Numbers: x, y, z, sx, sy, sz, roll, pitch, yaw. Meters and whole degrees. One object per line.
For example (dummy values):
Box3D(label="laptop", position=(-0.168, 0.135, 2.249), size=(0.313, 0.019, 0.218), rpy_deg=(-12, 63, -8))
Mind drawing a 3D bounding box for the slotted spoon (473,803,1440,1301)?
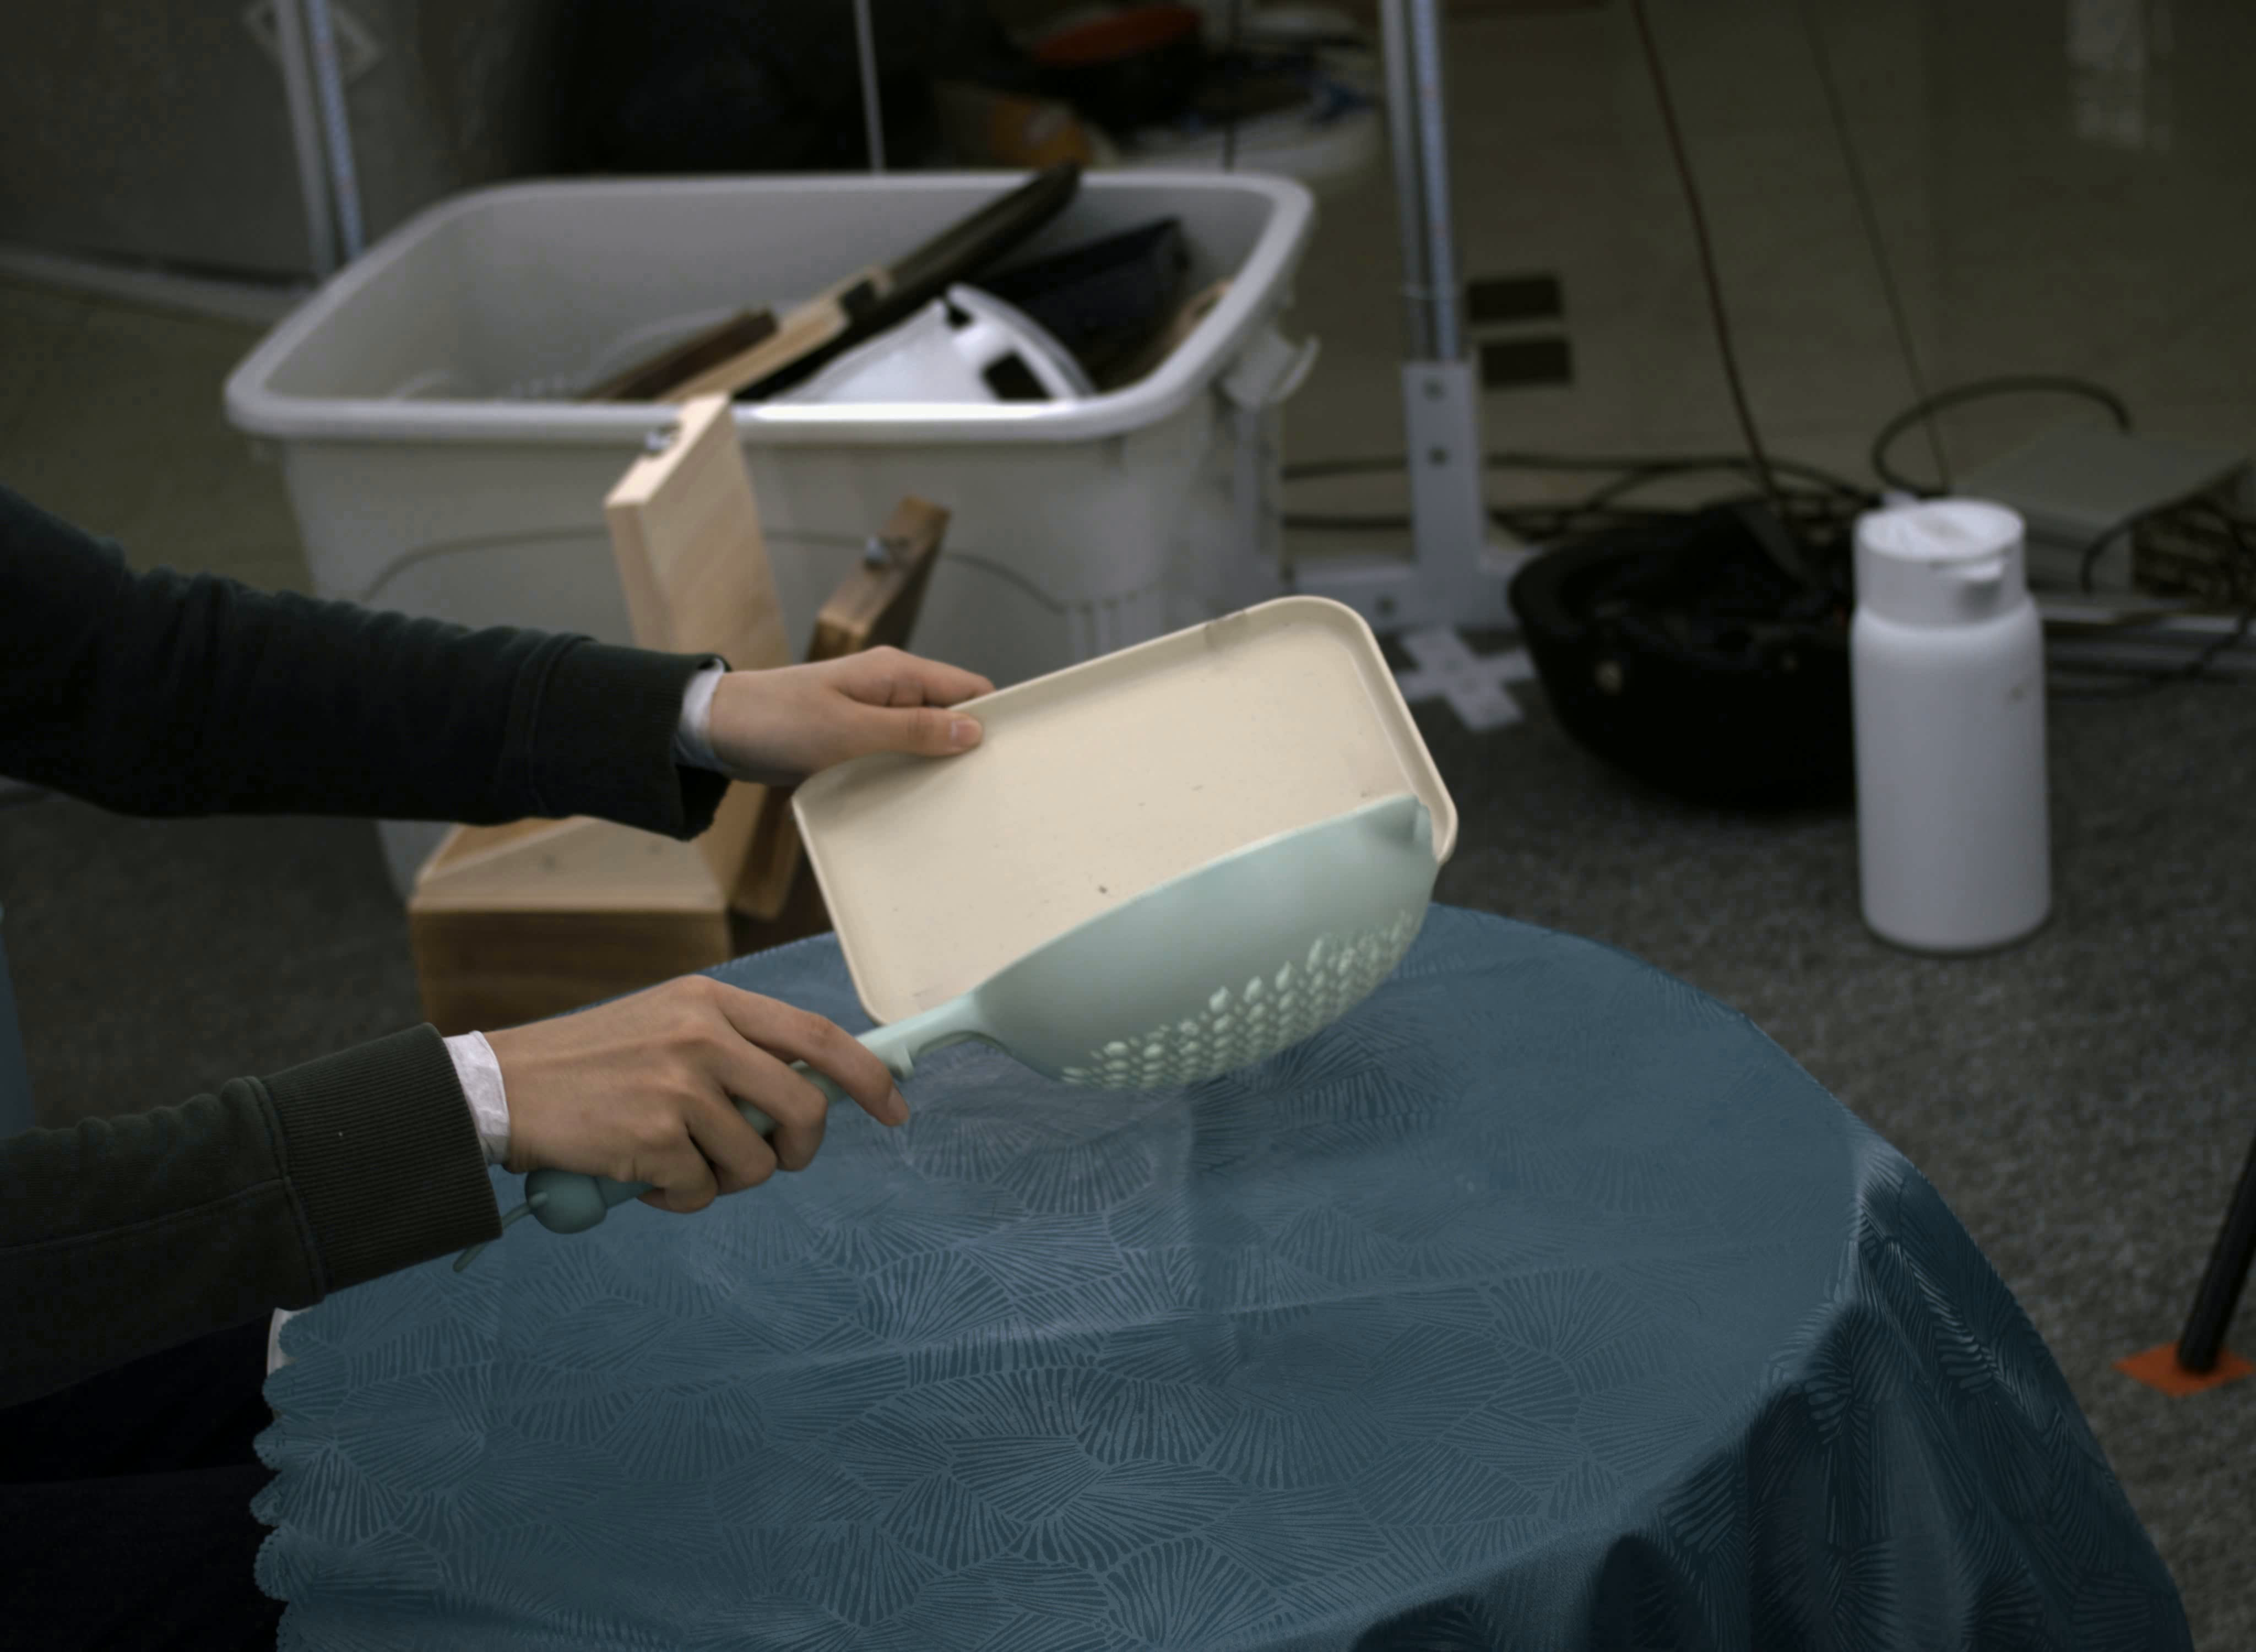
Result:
Box3D(label="slotted spoon", position=(-0.057, 0.078, 1.924), size=(0.358, 0.075, 0.170), rpy_deg=(-15, -10, -9))

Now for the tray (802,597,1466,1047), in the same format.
Box3D(label="tray", position=(0.001, 0.000, 2.189), size=(0.239, 0.018, 0.168), rpy_deg=(-19, 46, -3))
